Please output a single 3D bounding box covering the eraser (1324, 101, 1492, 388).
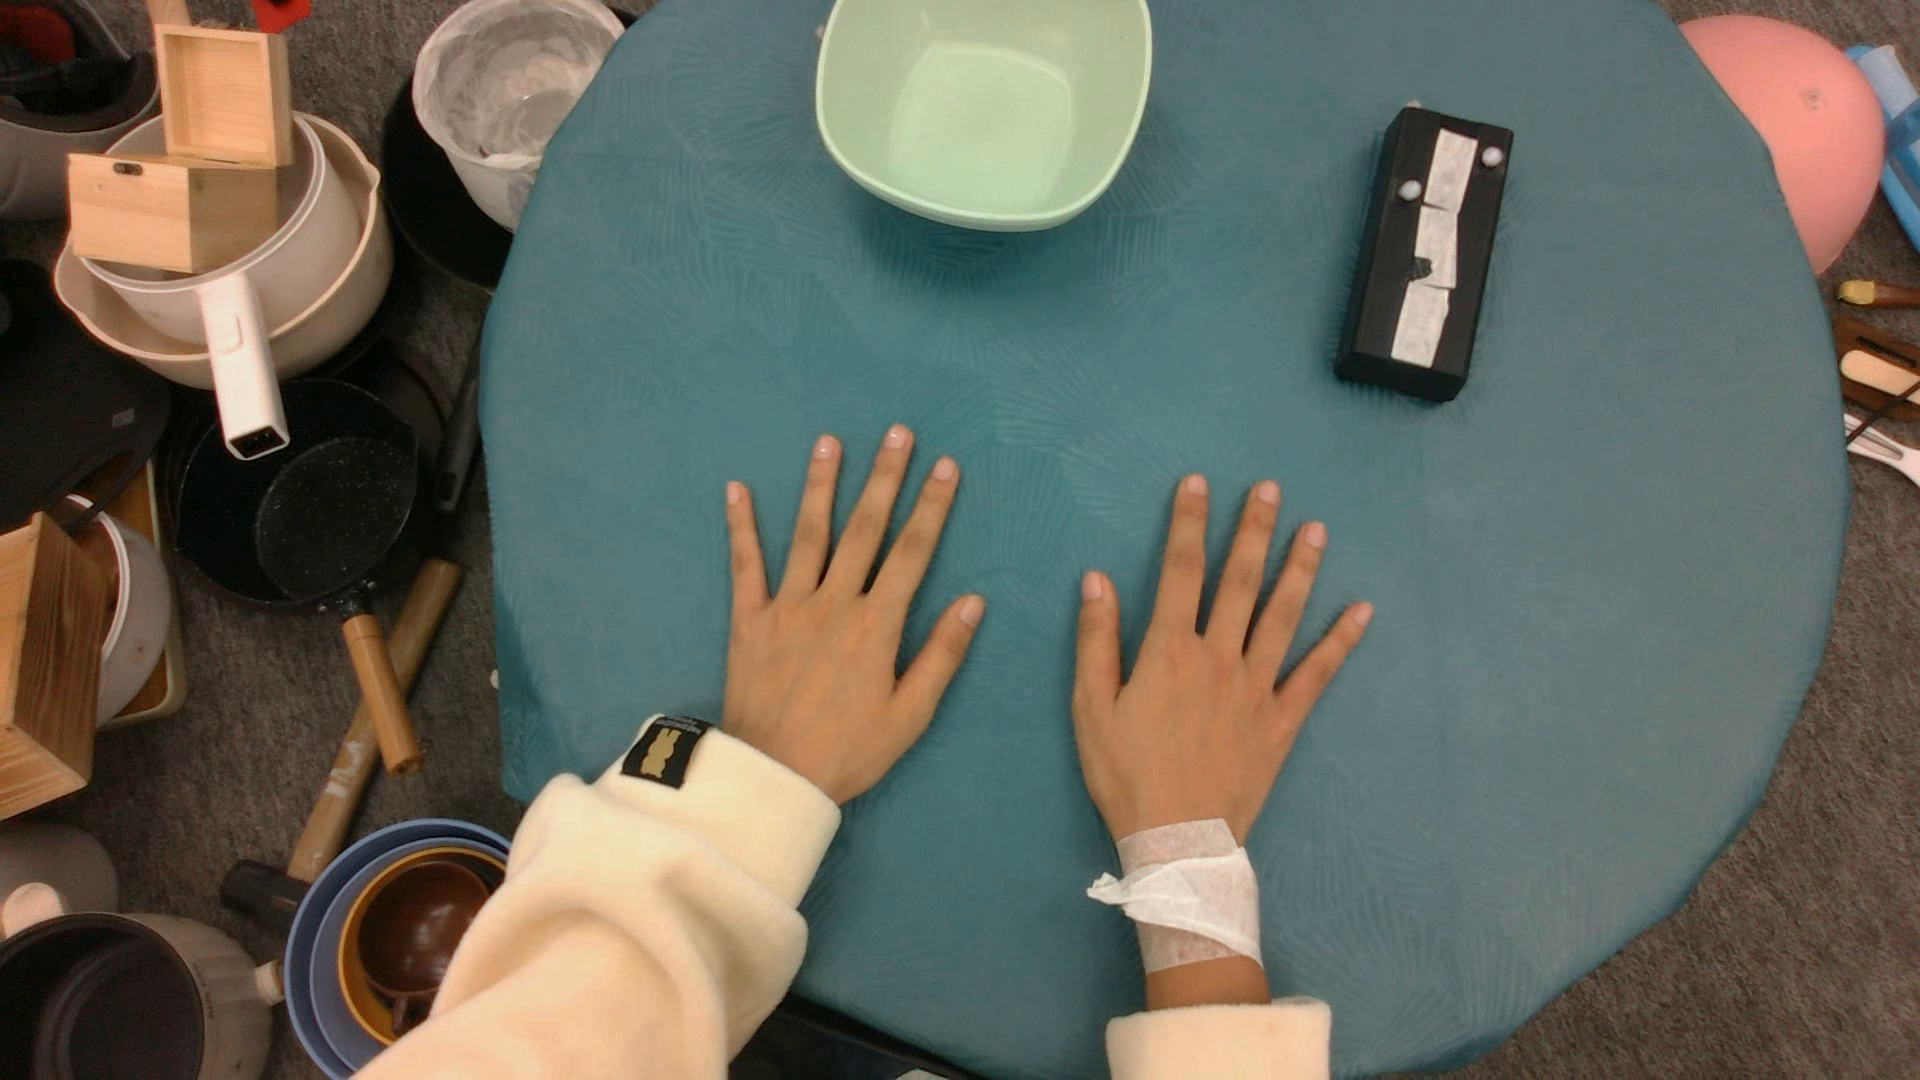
[{"bbox_3d":[0.199,-0.132,0.614,0.053,0.030,0.126,12,78,4],"label":"eraser"}]

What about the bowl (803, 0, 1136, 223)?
[{"bbox_3d":[0.005,-0.196,0.611,0.151,0.058,0.152,0,75,2],"label":"bowl"}]
